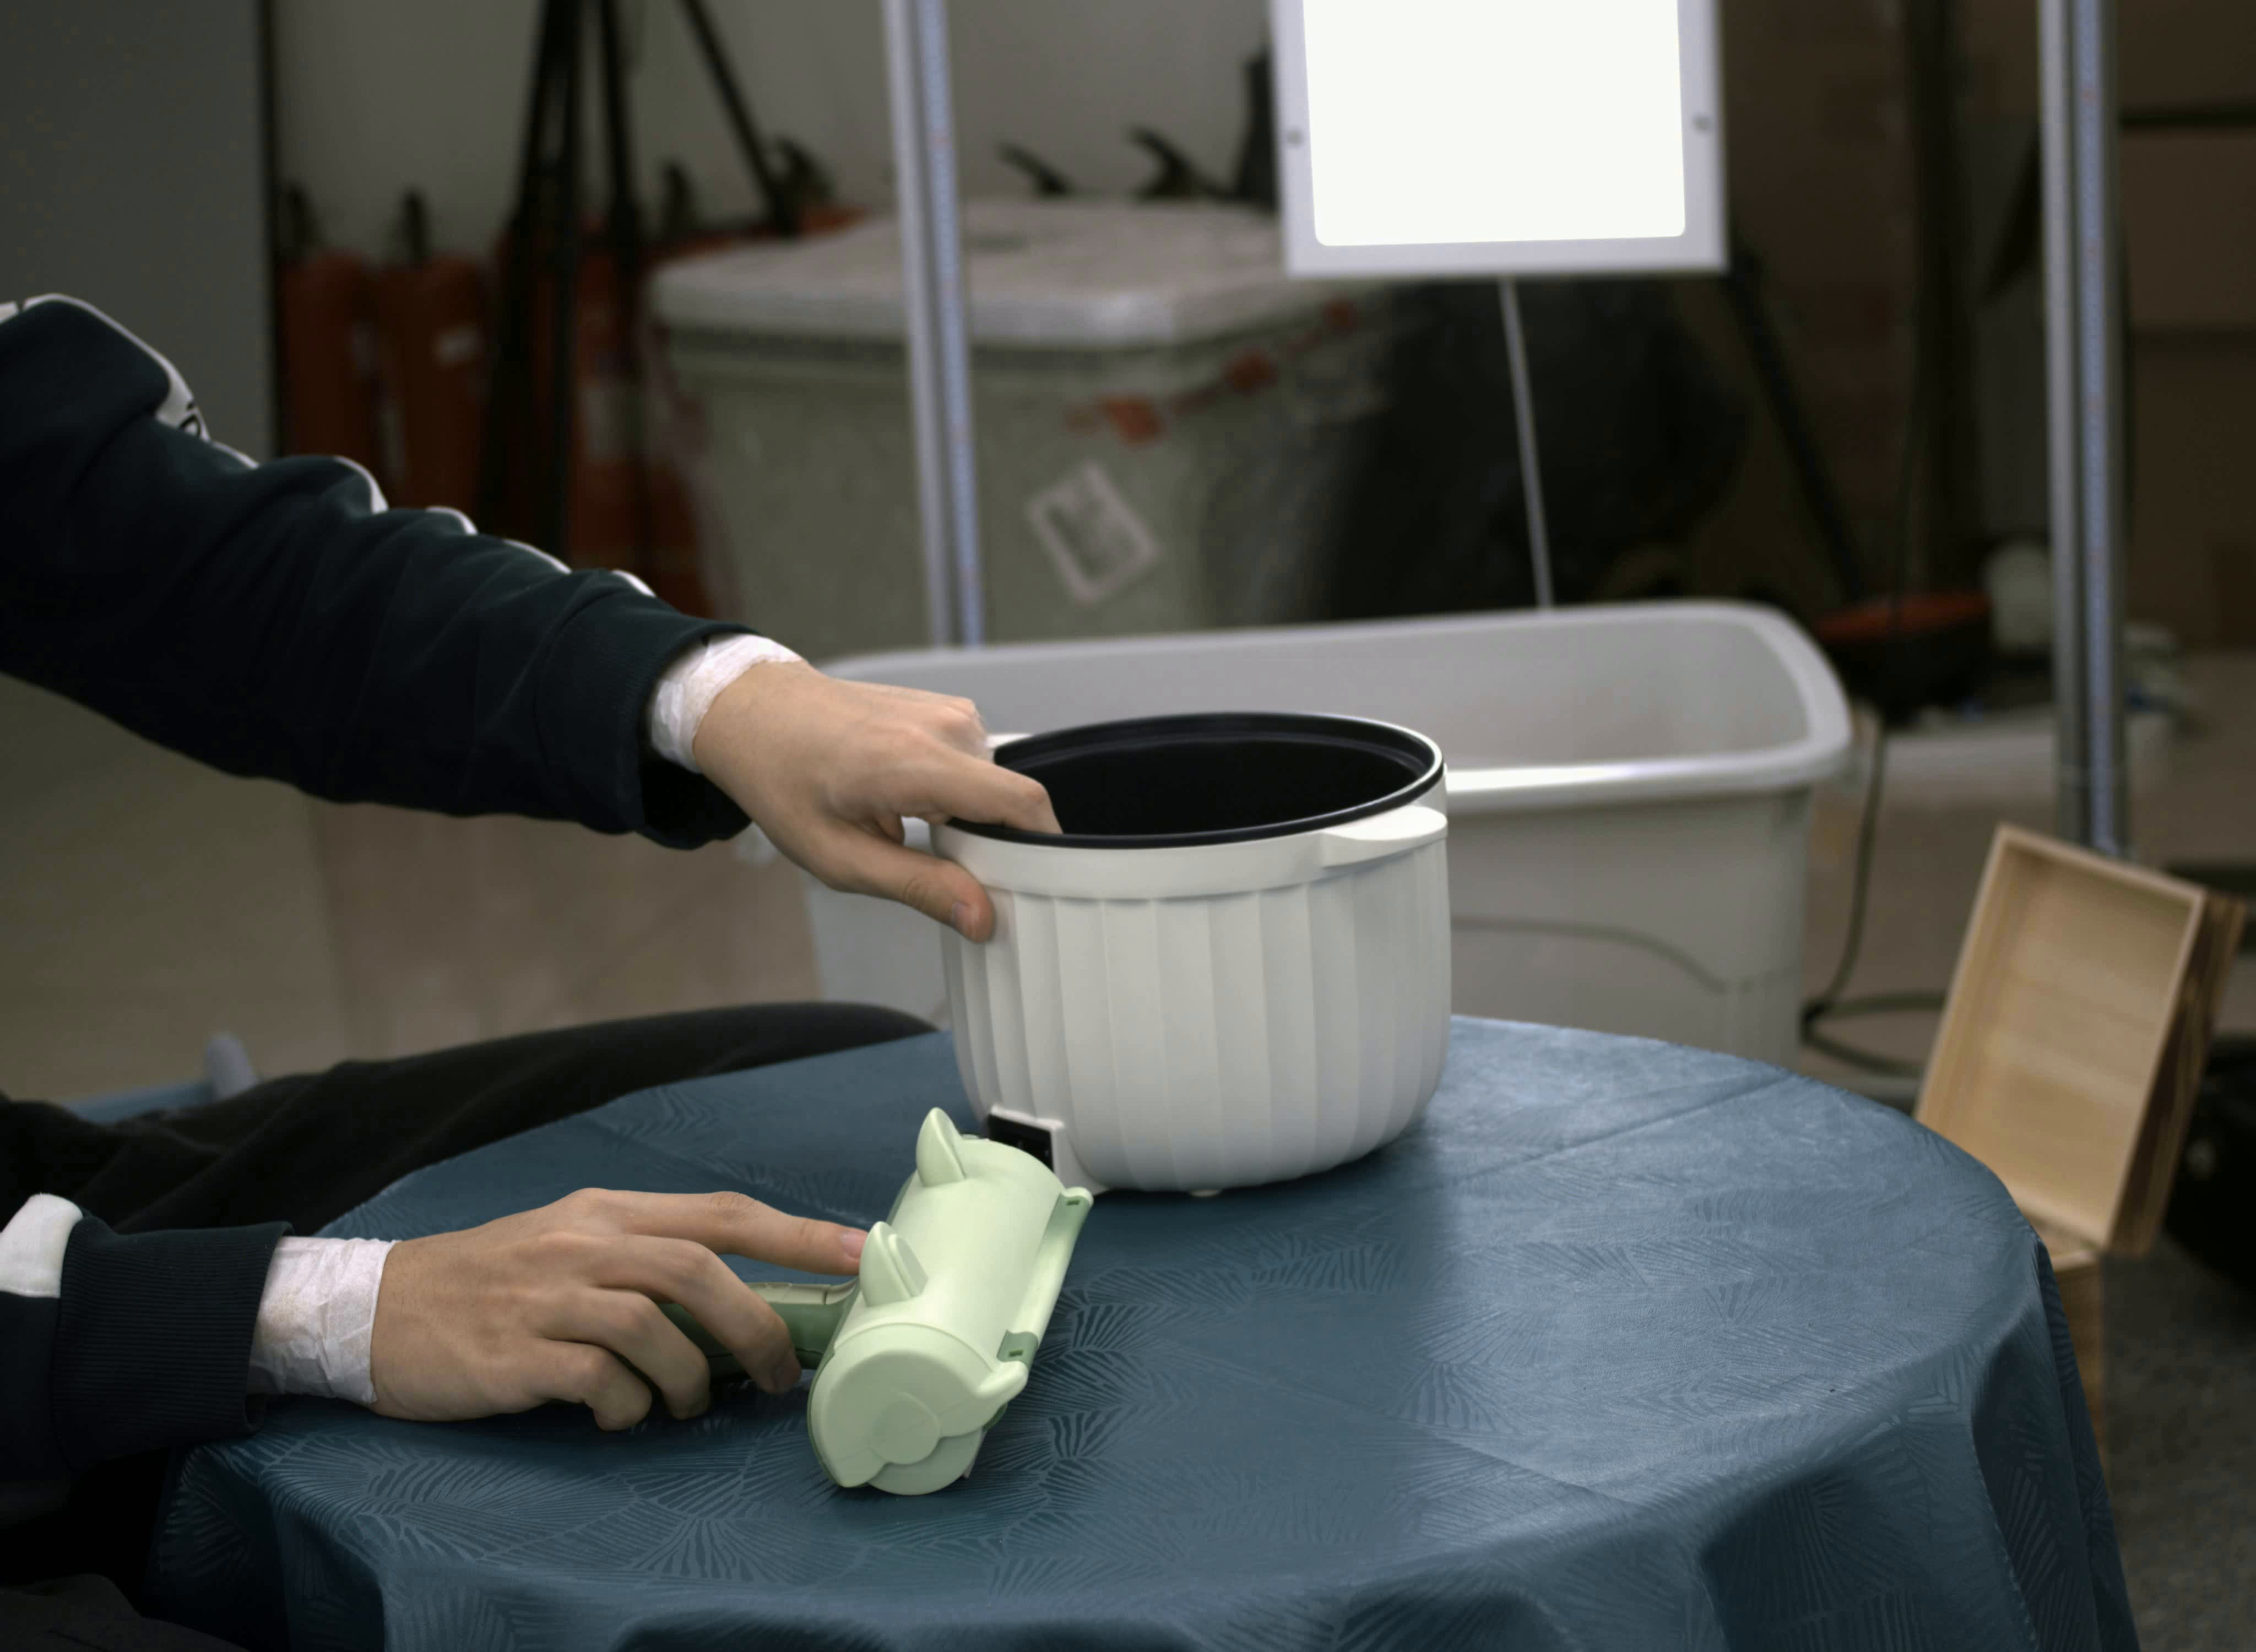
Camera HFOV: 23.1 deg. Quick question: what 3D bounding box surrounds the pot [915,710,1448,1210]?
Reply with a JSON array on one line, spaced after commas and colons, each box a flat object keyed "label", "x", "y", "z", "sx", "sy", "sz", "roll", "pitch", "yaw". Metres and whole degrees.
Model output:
[{"label": "pot", "x": 0.026, "y": 0.045, "z": 1.928, "sx": 0.186, "sy": 0.143, "sz": 0.245, "roll": -20, "pitch": 21, "yaw": -38}]

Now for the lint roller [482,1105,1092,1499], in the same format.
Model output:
[{"label": "lint roller", "x": -0.112, "y": 0.142, "z": 1.717, "sx": 0.184, "sy": 0.082, "sz": 0.197, "roll": 2, "pitch": 15, "yaw": 7}]
